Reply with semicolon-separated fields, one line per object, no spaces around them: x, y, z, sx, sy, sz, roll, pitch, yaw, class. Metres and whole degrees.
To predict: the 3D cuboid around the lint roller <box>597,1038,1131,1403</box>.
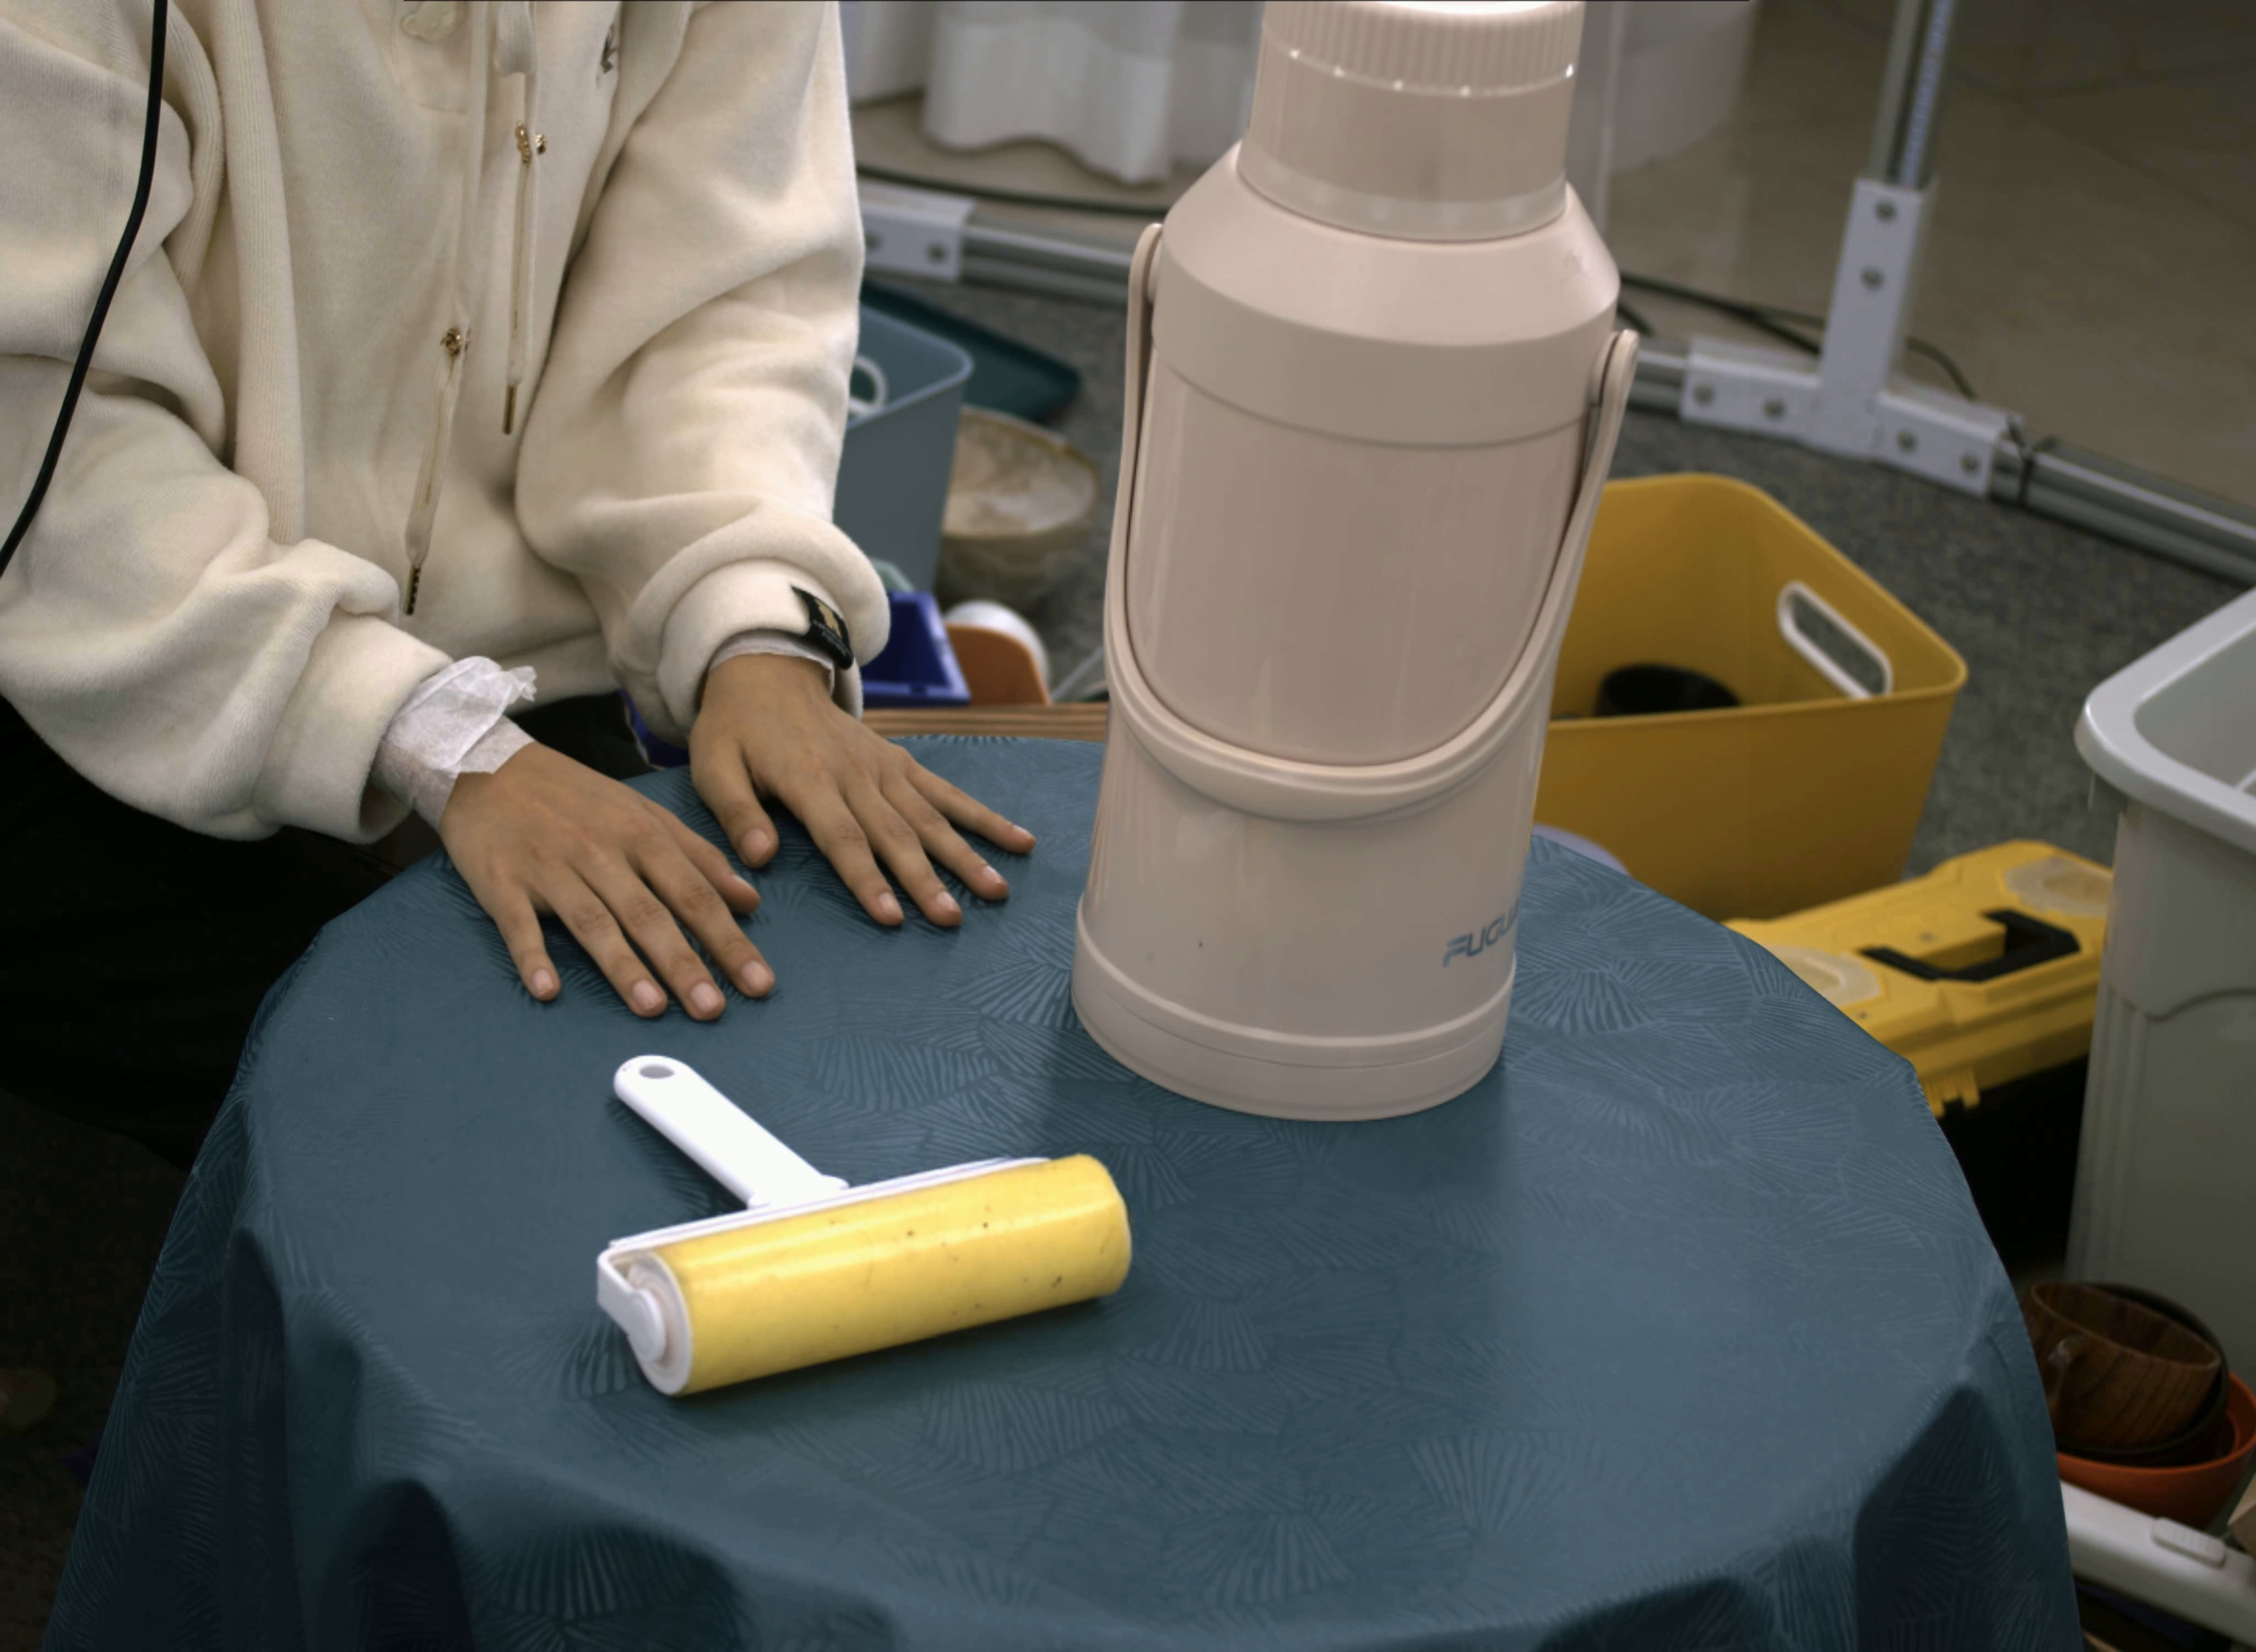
-0.116;0.109;1.745;0.173;0.051;0.194;-11;37;-31;lint roller

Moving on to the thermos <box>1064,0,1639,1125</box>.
0.083;-0.112;1.848;0.175;0.405;0.207;14;27;14;thermos
